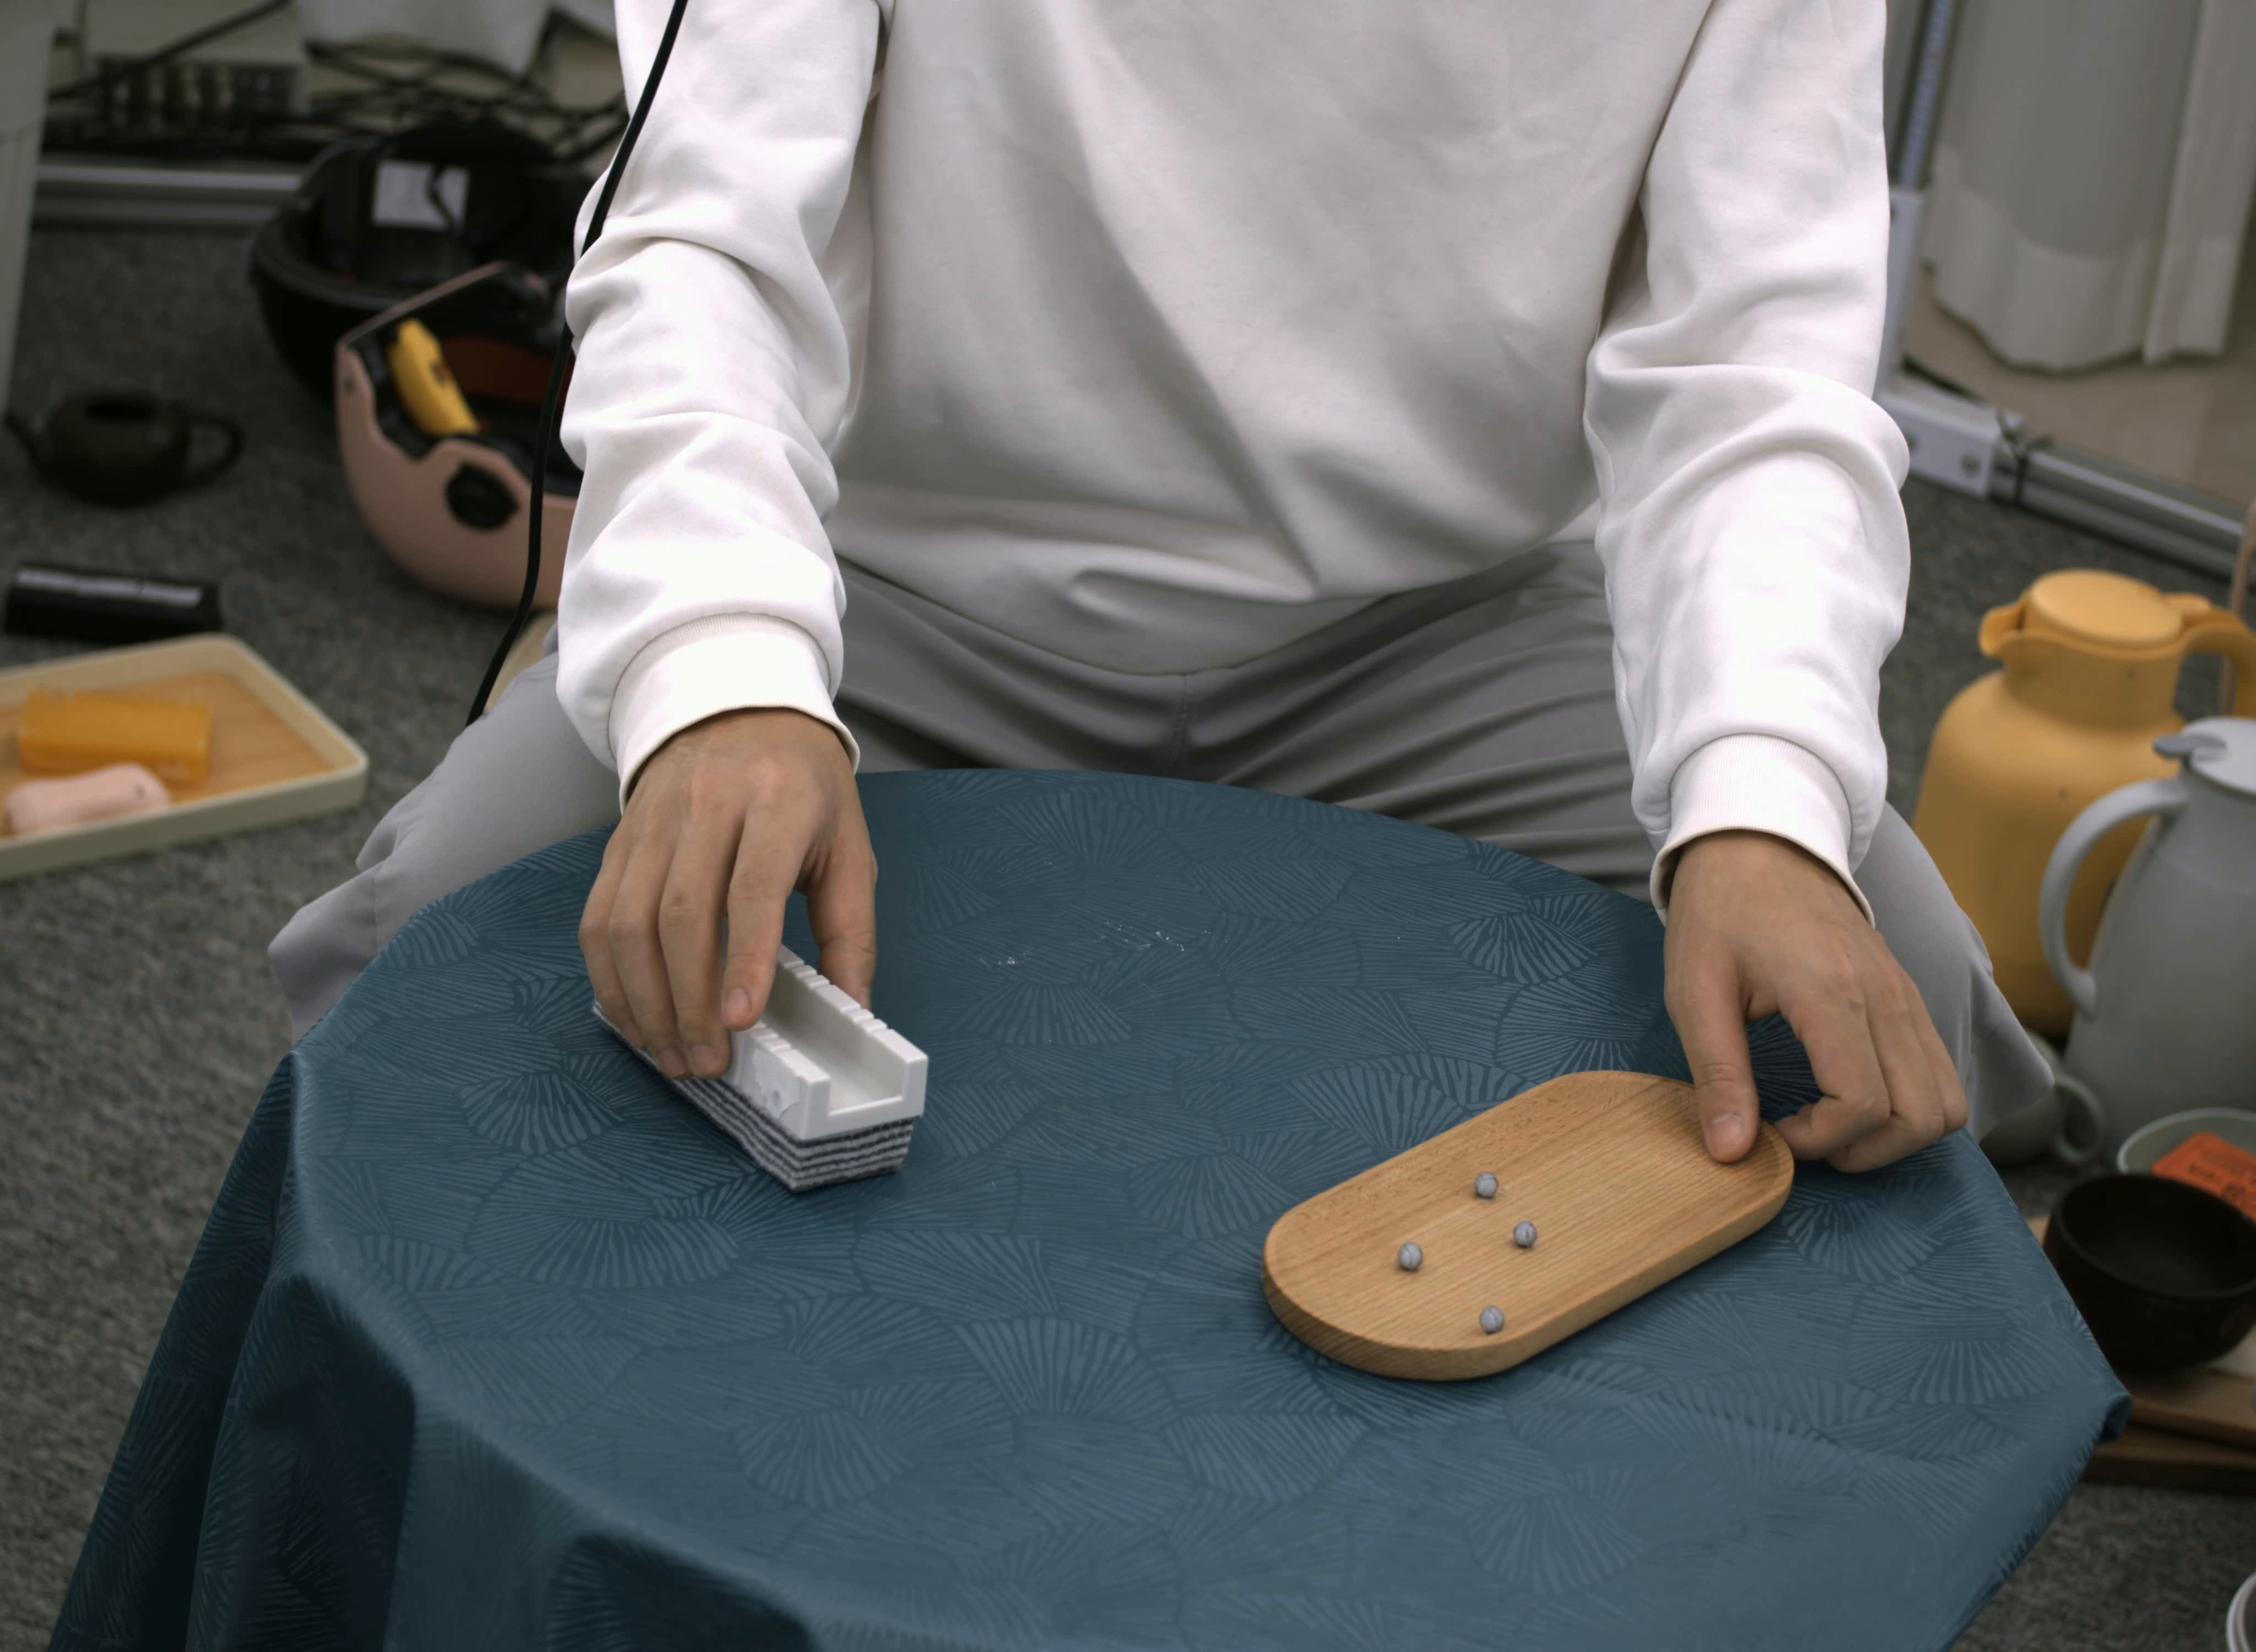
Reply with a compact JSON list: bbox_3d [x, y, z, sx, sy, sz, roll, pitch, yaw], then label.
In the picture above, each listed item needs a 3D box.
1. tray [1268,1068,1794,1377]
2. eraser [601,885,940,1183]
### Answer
[{"bbox_3d":[0.138,0.133,1.802,0.102,0.020,0.230,27,31,33],"label":"tray"},{"bbox_3d":[-0.125,0.071,1.826,0.049,0.046,0.135,-7,30,-40],"label":"eraser"}]
